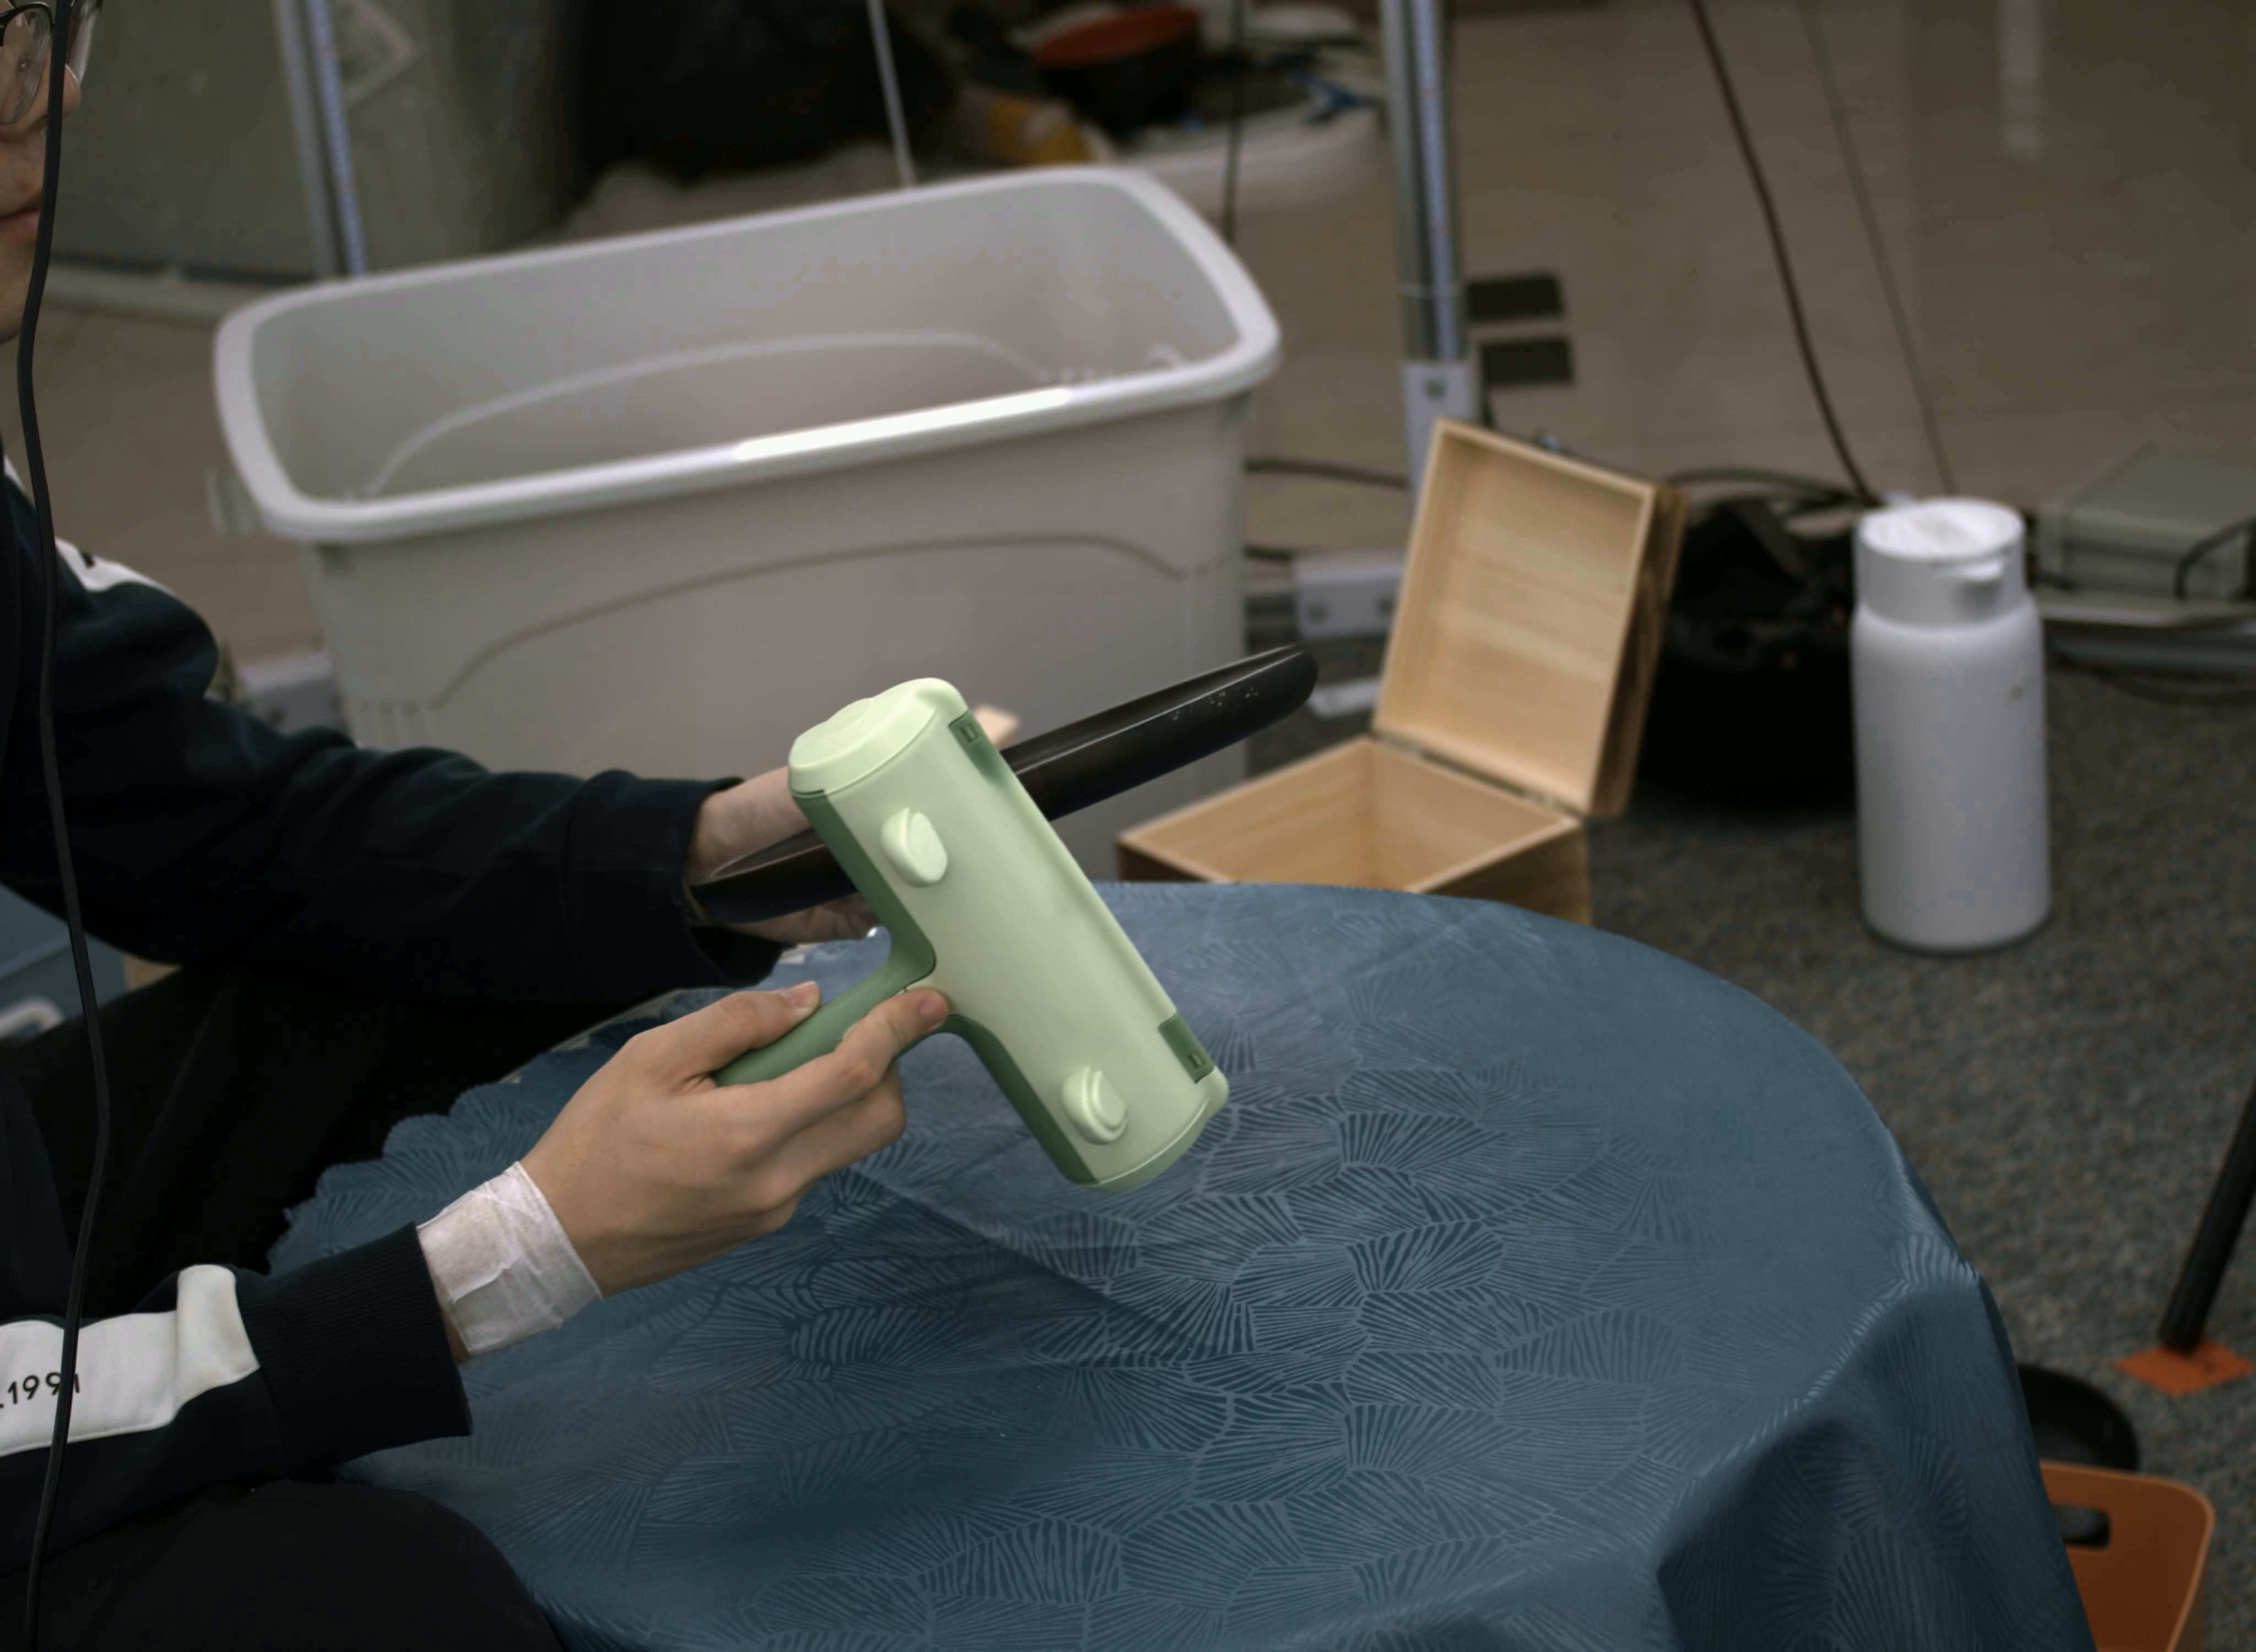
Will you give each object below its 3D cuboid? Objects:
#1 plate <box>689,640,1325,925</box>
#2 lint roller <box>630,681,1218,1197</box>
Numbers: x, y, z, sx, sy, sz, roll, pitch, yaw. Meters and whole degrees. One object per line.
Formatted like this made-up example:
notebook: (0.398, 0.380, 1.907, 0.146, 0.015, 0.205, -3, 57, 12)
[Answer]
plate: (-0.043, -0.016, 2.118, 0.254, 0.029, 0.254, -21, 5, 2)
lint roller: (-0.089, 0.075, 1.951, 0.183, 0.201, 0.081, -35, 23, -4)
